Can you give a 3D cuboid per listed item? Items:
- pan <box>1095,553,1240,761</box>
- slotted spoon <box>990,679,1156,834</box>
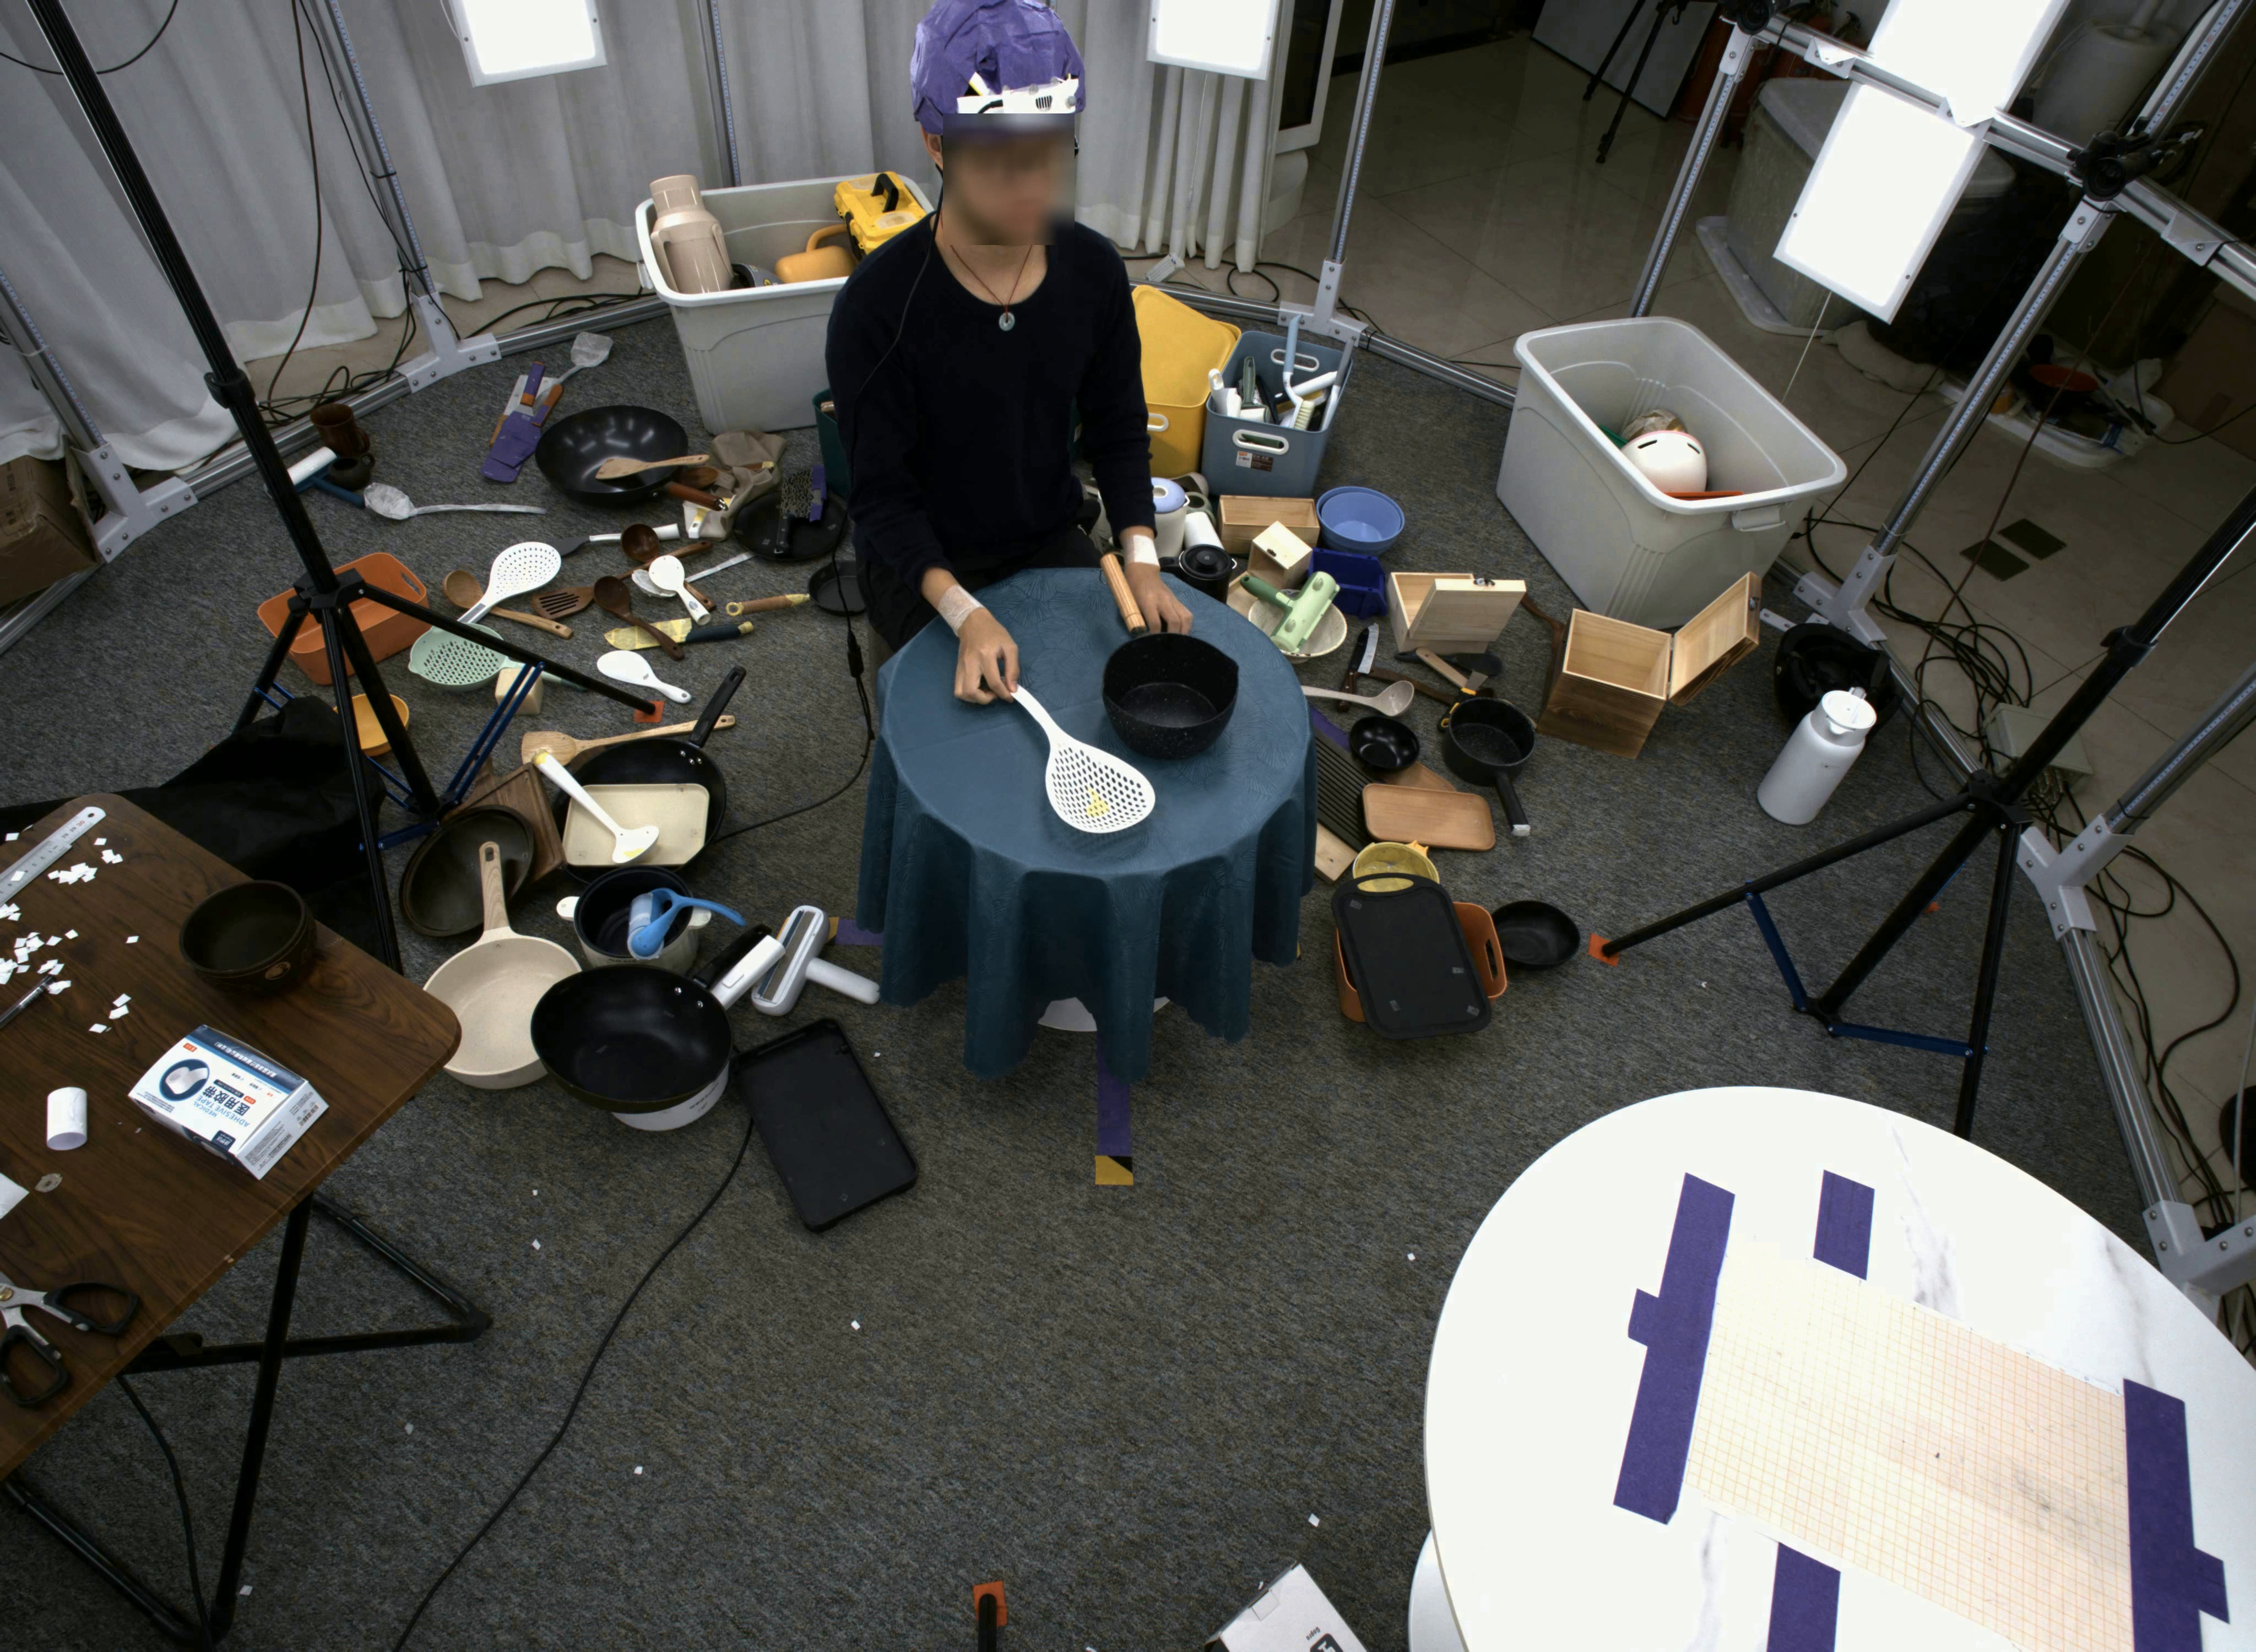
[{"bbox_3d":[0.027,-0.239,1.808,0.207,0.105,0.351,-16,53,-16],"label":"pan"},{"bbox_3d":[-0.092,-0.105,1.726,0.137,0.049,0.355,-22,55,-23],"label":"slotted spoon"}]
